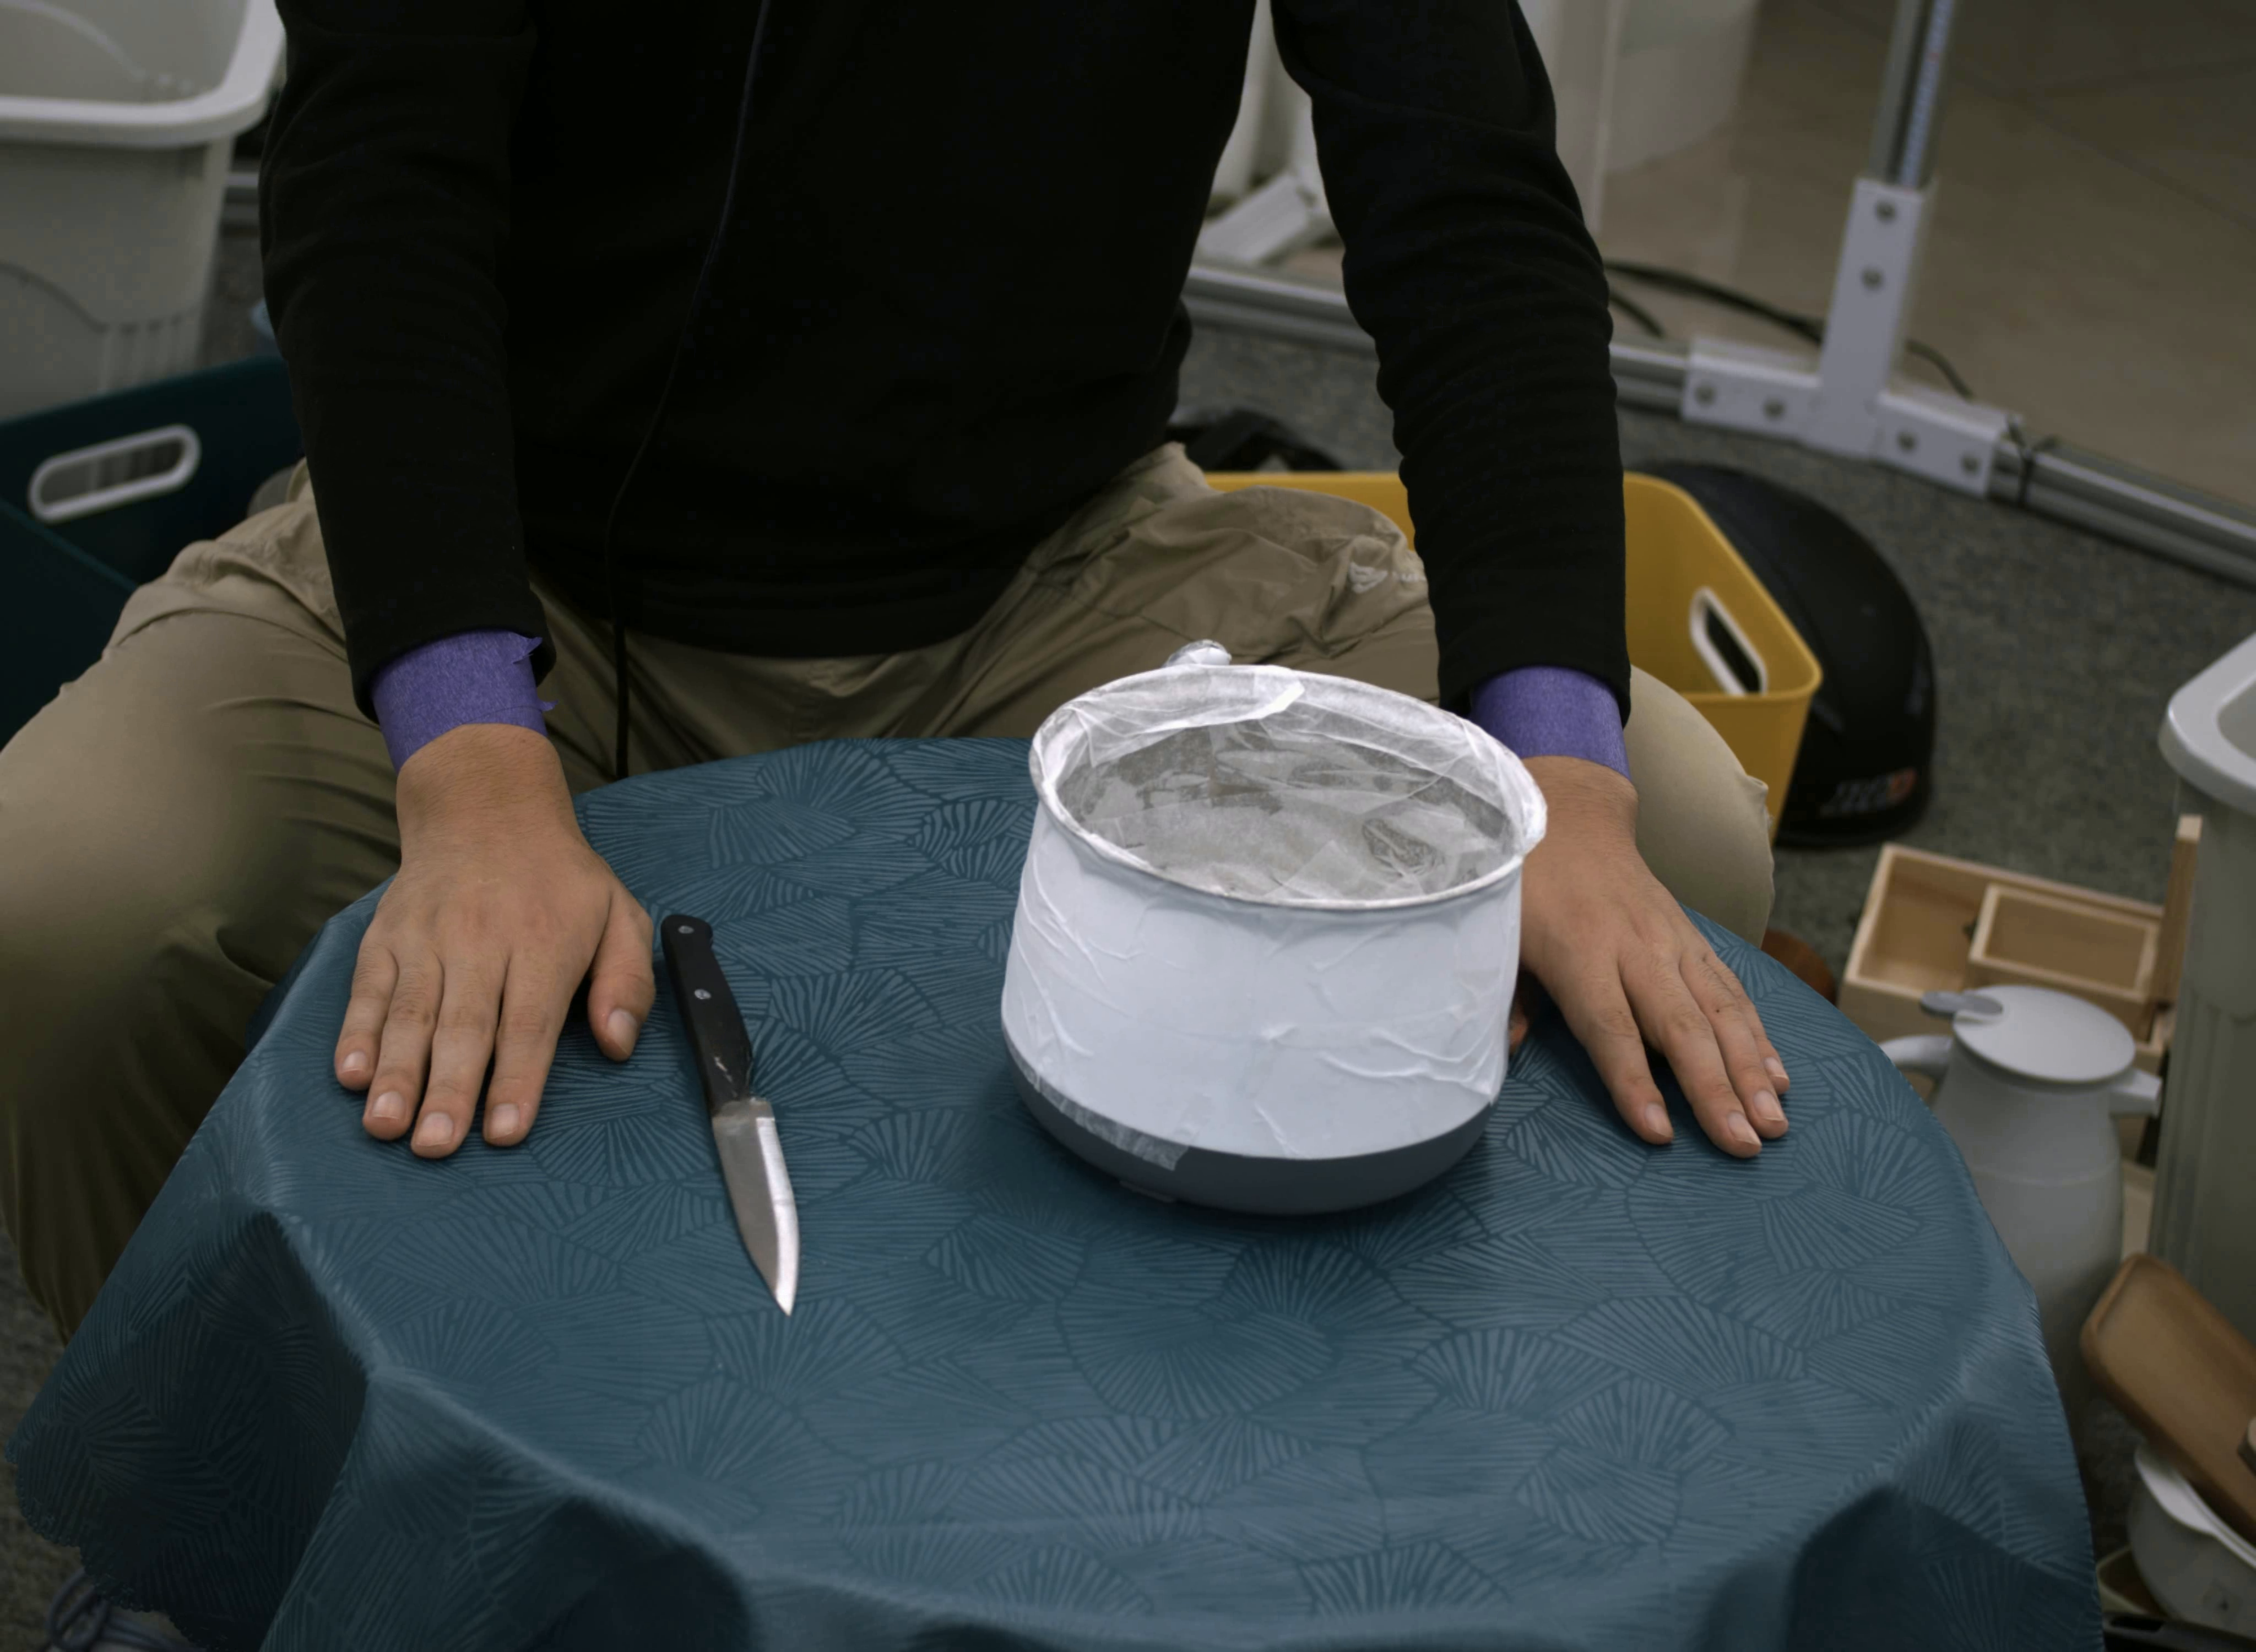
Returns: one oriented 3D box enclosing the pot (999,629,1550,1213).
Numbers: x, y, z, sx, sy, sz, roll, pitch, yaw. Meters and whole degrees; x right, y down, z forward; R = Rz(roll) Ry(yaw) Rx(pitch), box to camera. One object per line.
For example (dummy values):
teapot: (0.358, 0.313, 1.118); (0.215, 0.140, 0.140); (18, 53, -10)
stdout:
pot: (0.039, 0.026, 1.850); (0.177, 0.136, 0.236); (-2, 29, -18)

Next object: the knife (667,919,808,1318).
knife: (-0.134, 0.098, 1.813); (0.024, 0.016, 0.240); (2, 30, -15)
